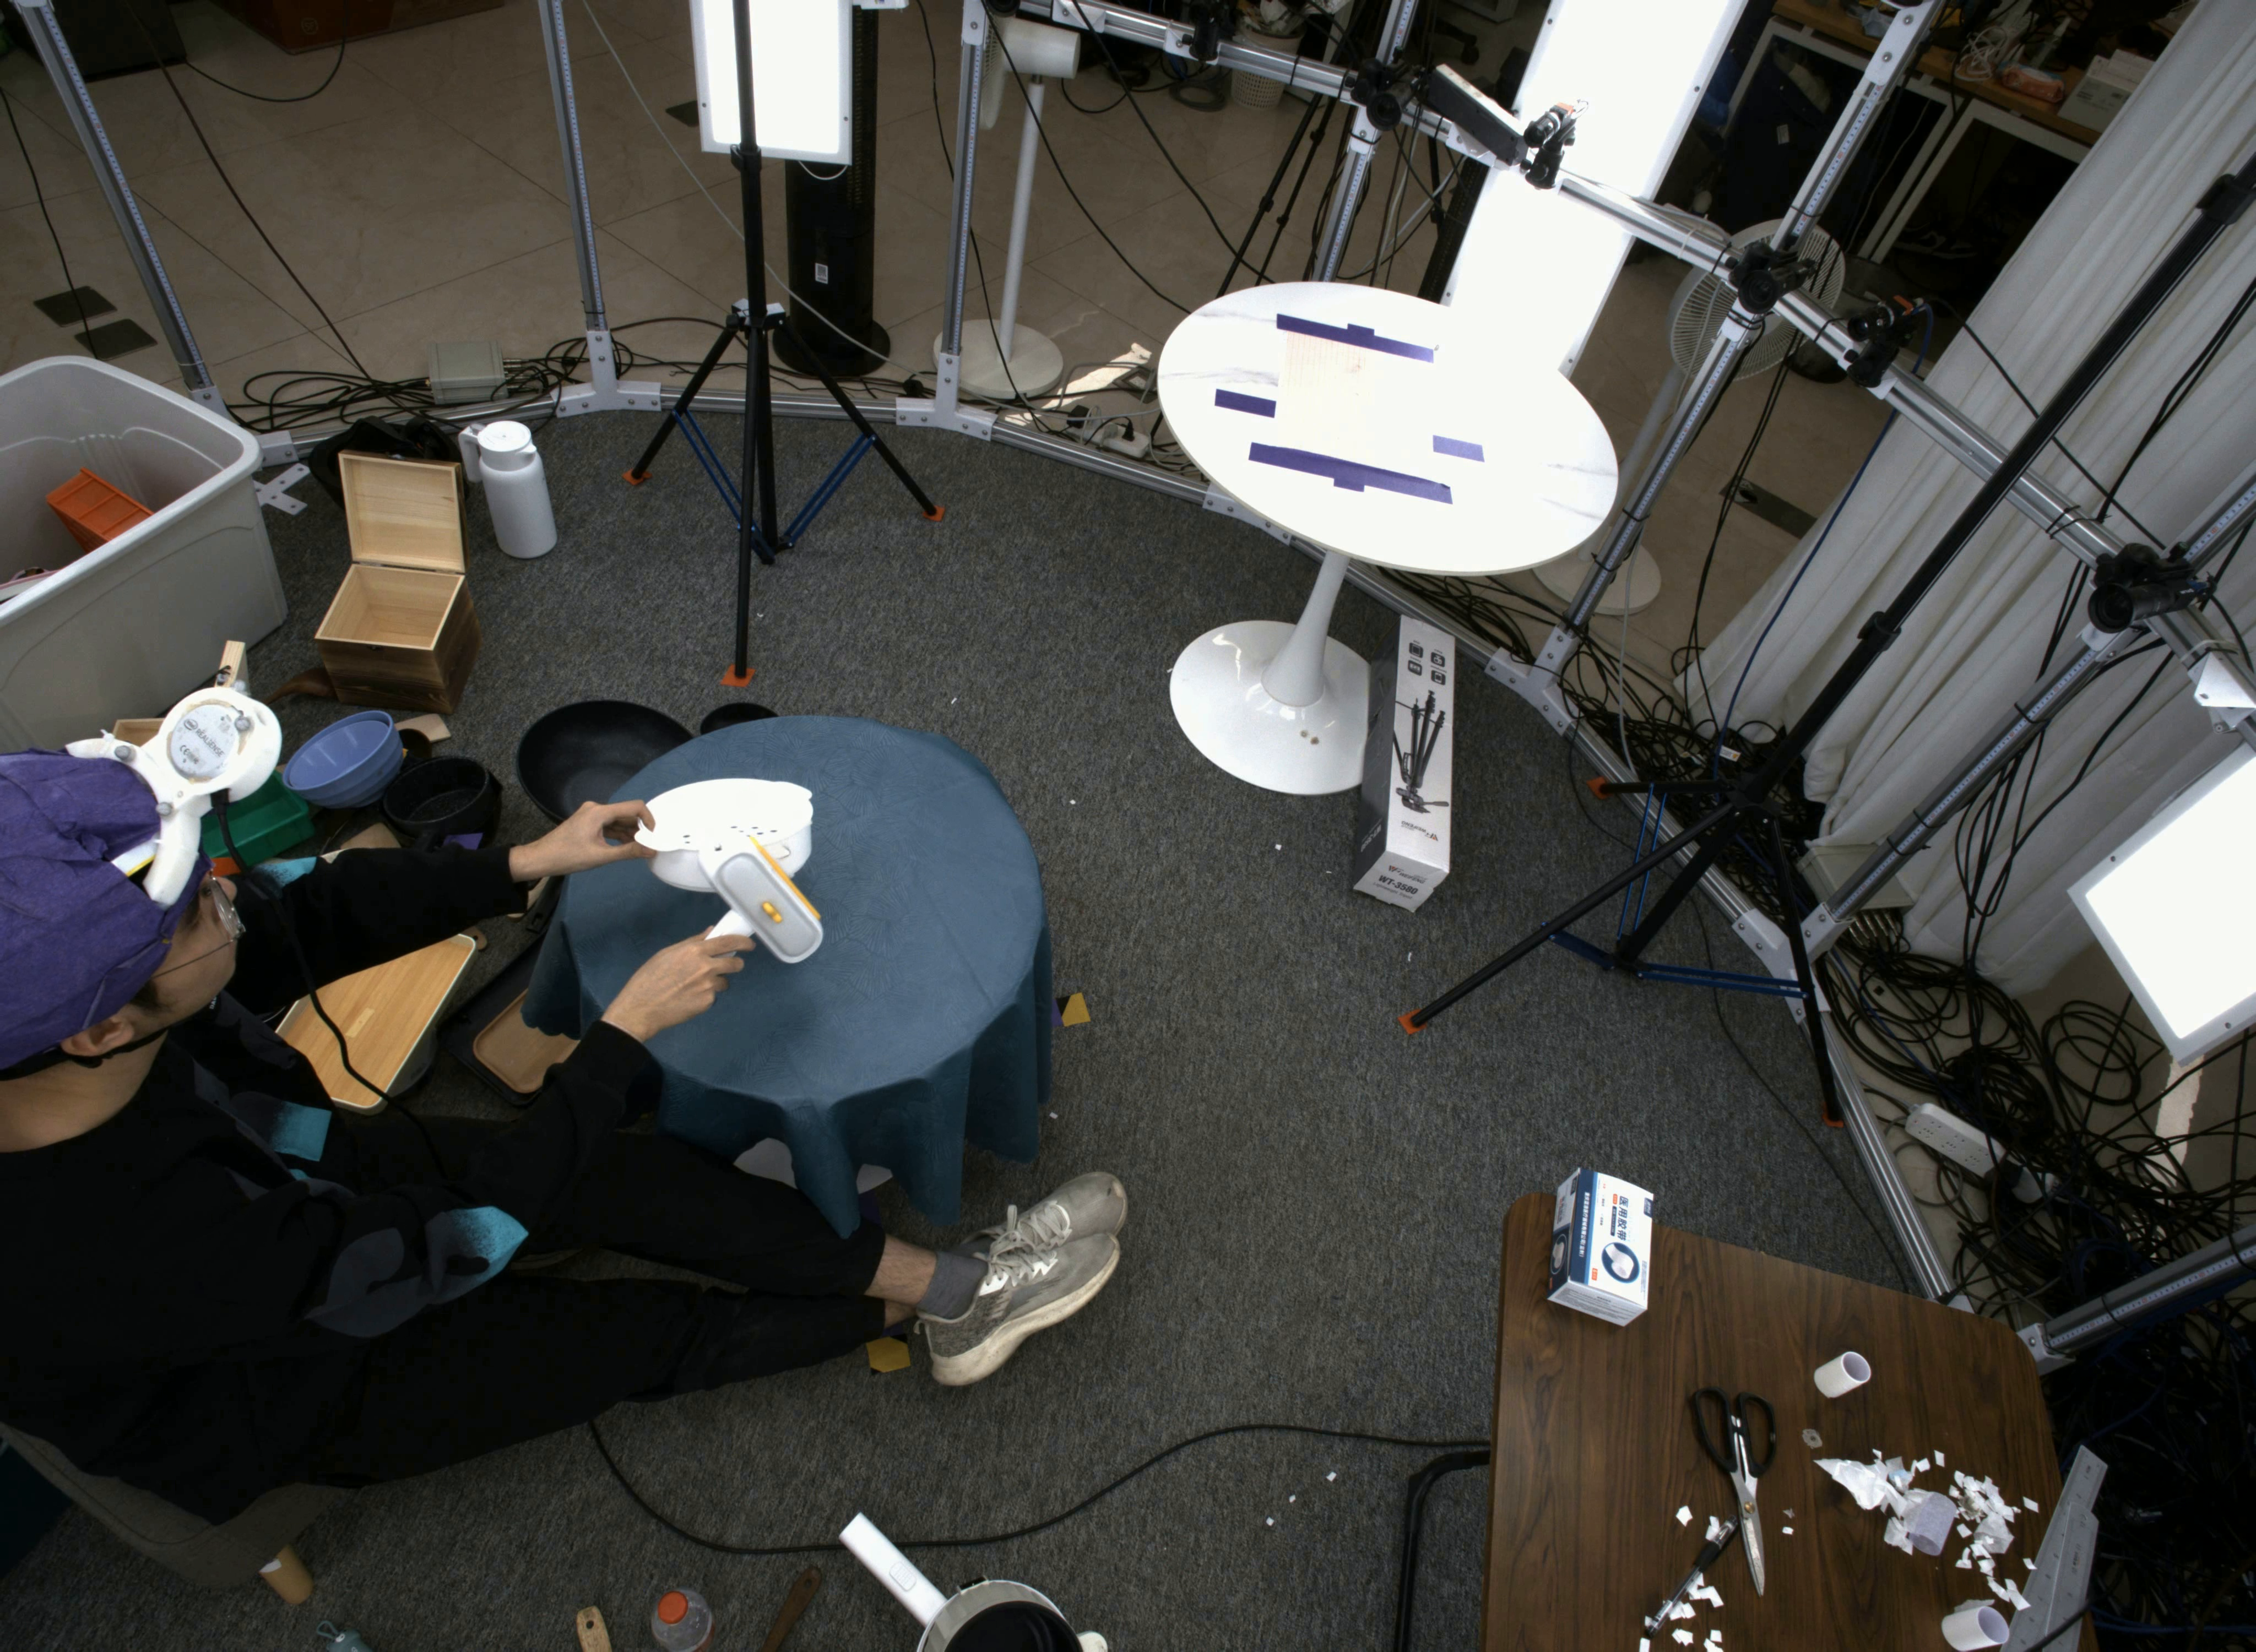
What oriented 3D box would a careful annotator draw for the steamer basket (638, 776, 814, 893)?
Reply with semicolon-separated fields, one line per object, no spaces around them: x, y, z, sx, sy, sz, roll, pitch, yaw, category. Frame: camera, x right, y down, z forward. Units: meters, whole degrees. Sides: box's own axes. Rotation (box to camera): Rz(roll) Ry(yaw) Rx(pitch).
-0.476;0.009;1.547;0.195;0.071;0.232;19;31;31;steamer basket

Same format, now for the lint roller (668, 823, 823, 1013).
-0.449;0.119;1.443;0.071;0.200;0.192;29;71;38;lint roller
